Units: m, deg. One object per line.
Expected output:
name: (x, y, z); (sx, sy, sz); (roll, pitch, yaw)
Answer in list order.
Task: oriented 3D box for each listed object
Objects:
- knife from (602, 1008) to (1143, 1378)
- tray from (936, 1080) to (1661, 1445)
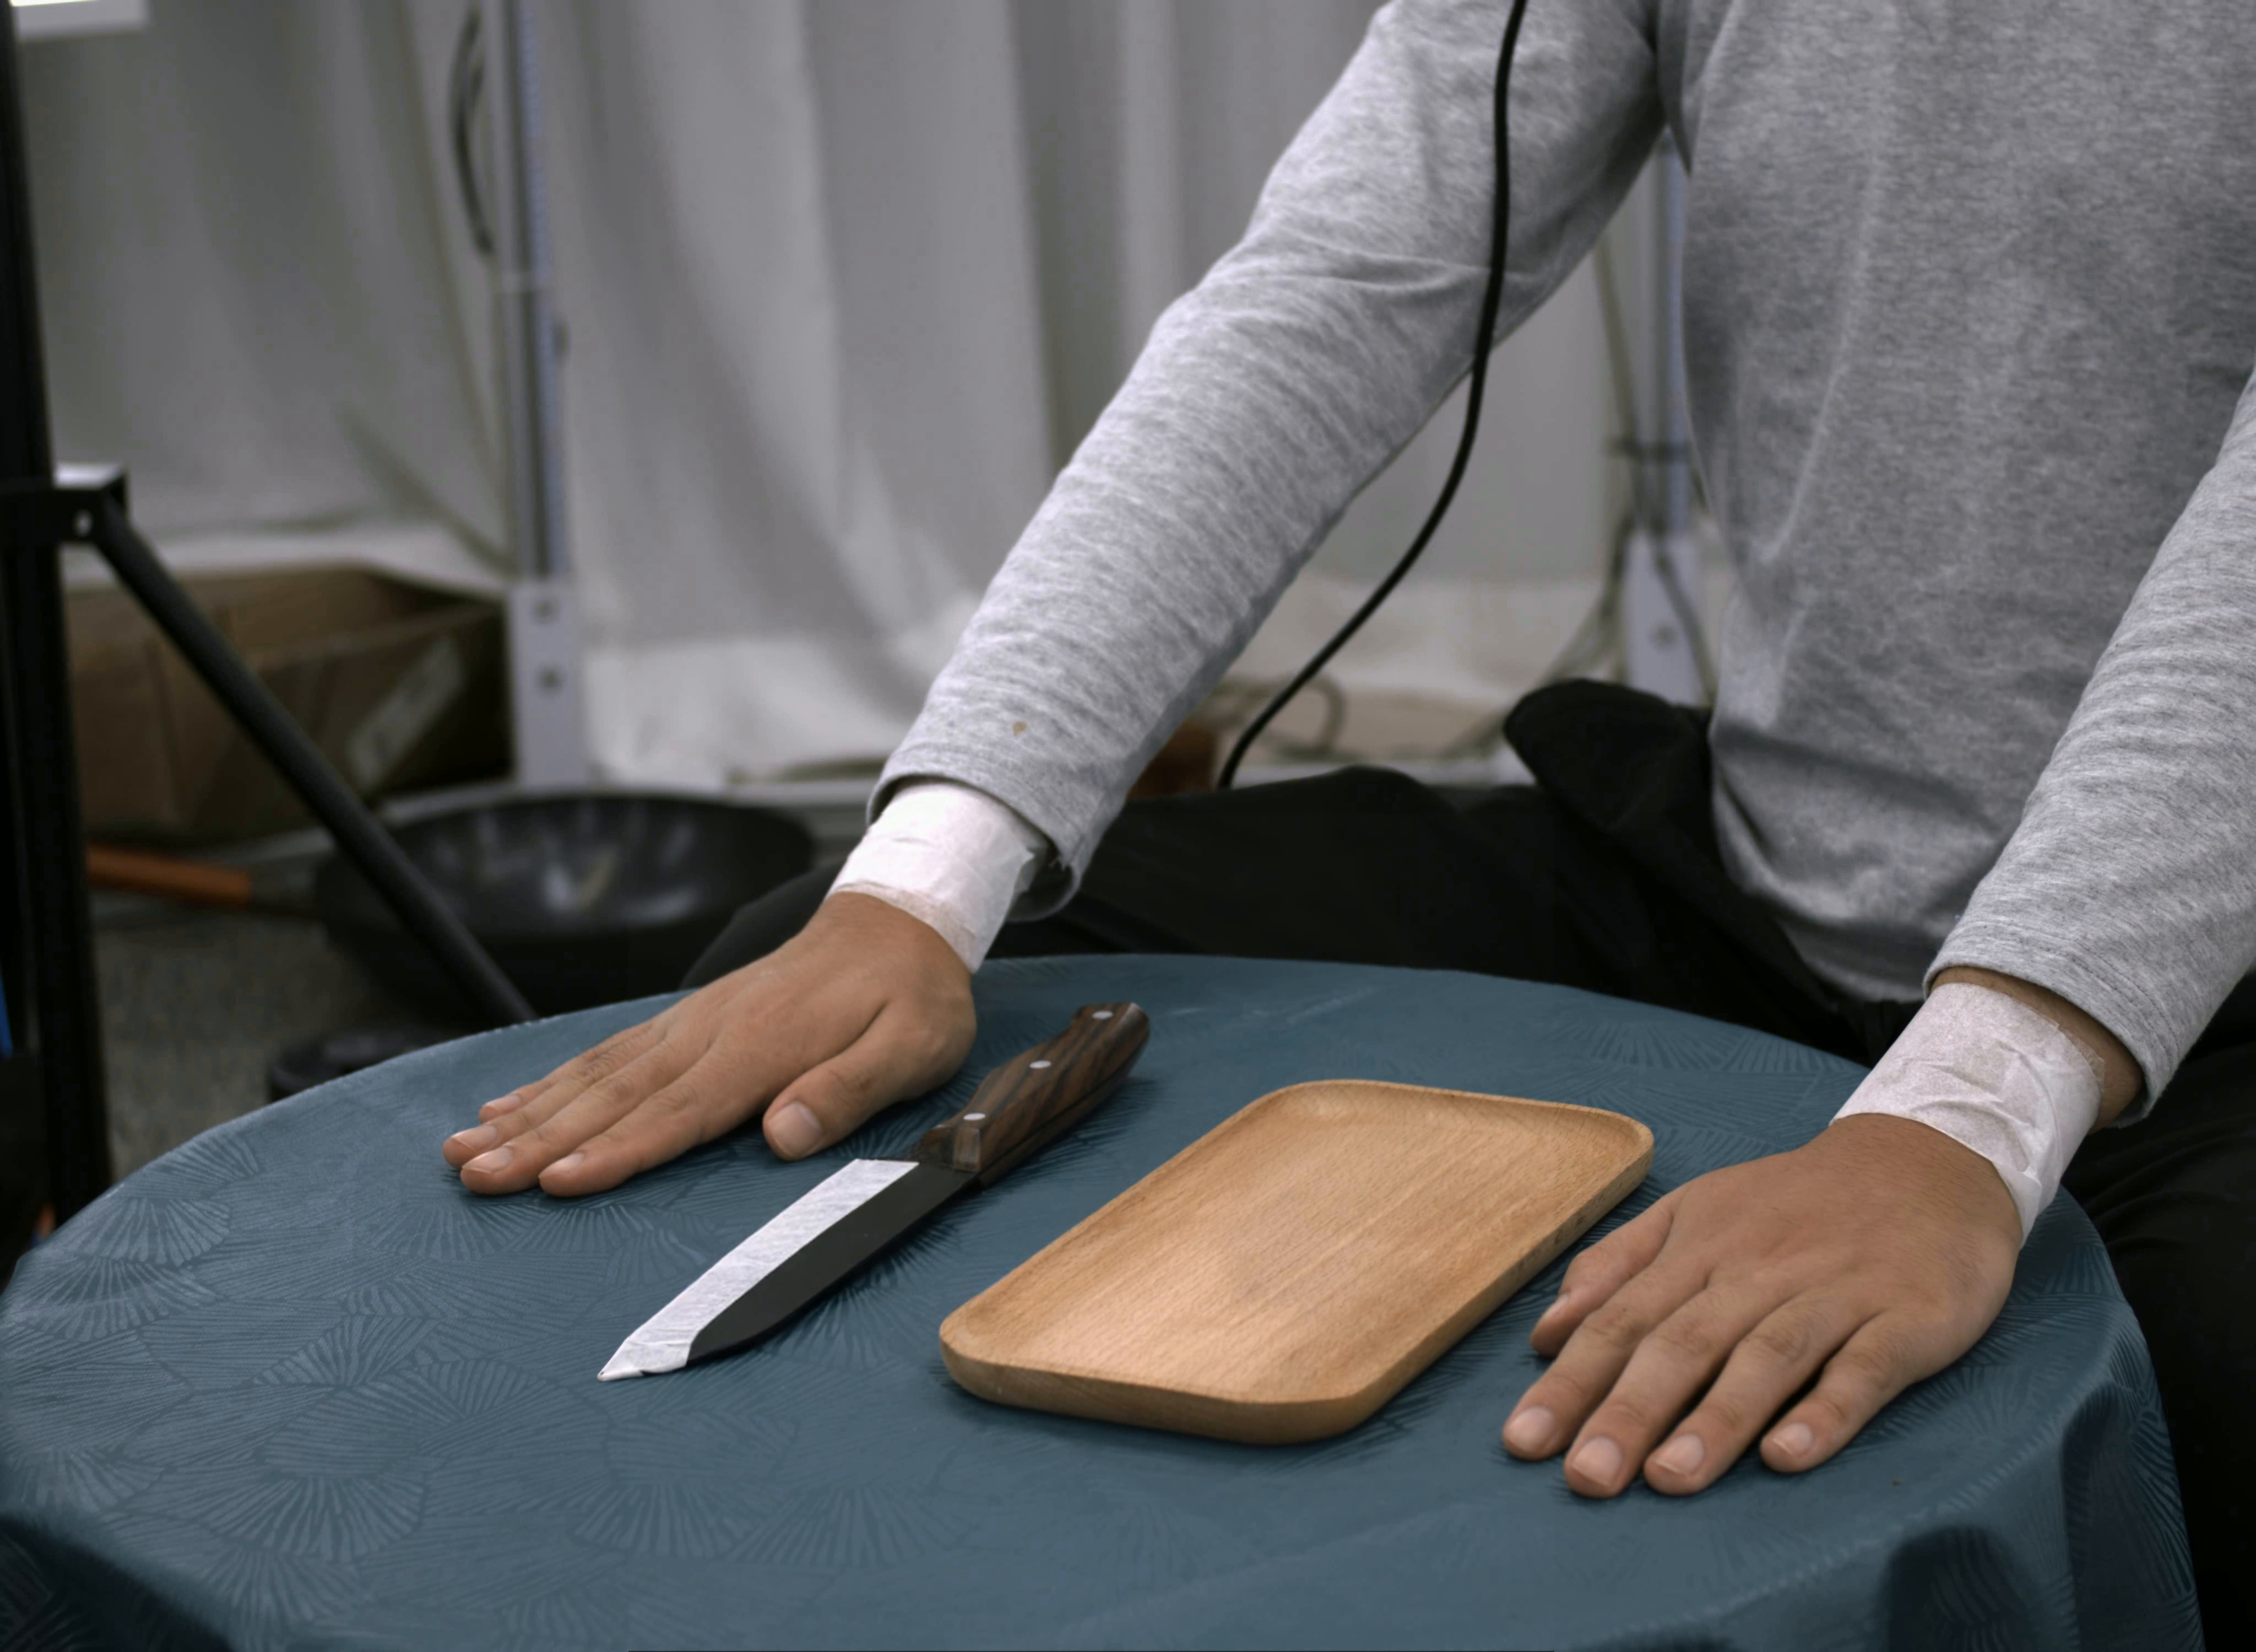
knife: (-0.069, 0.107, 1.550); (0.051, 0.020, 0.284); (1, 18, 30)
tray: (0.052, 0.119, 1.486); (0.133, 0.023, 0.246); (8, 18, 27)
